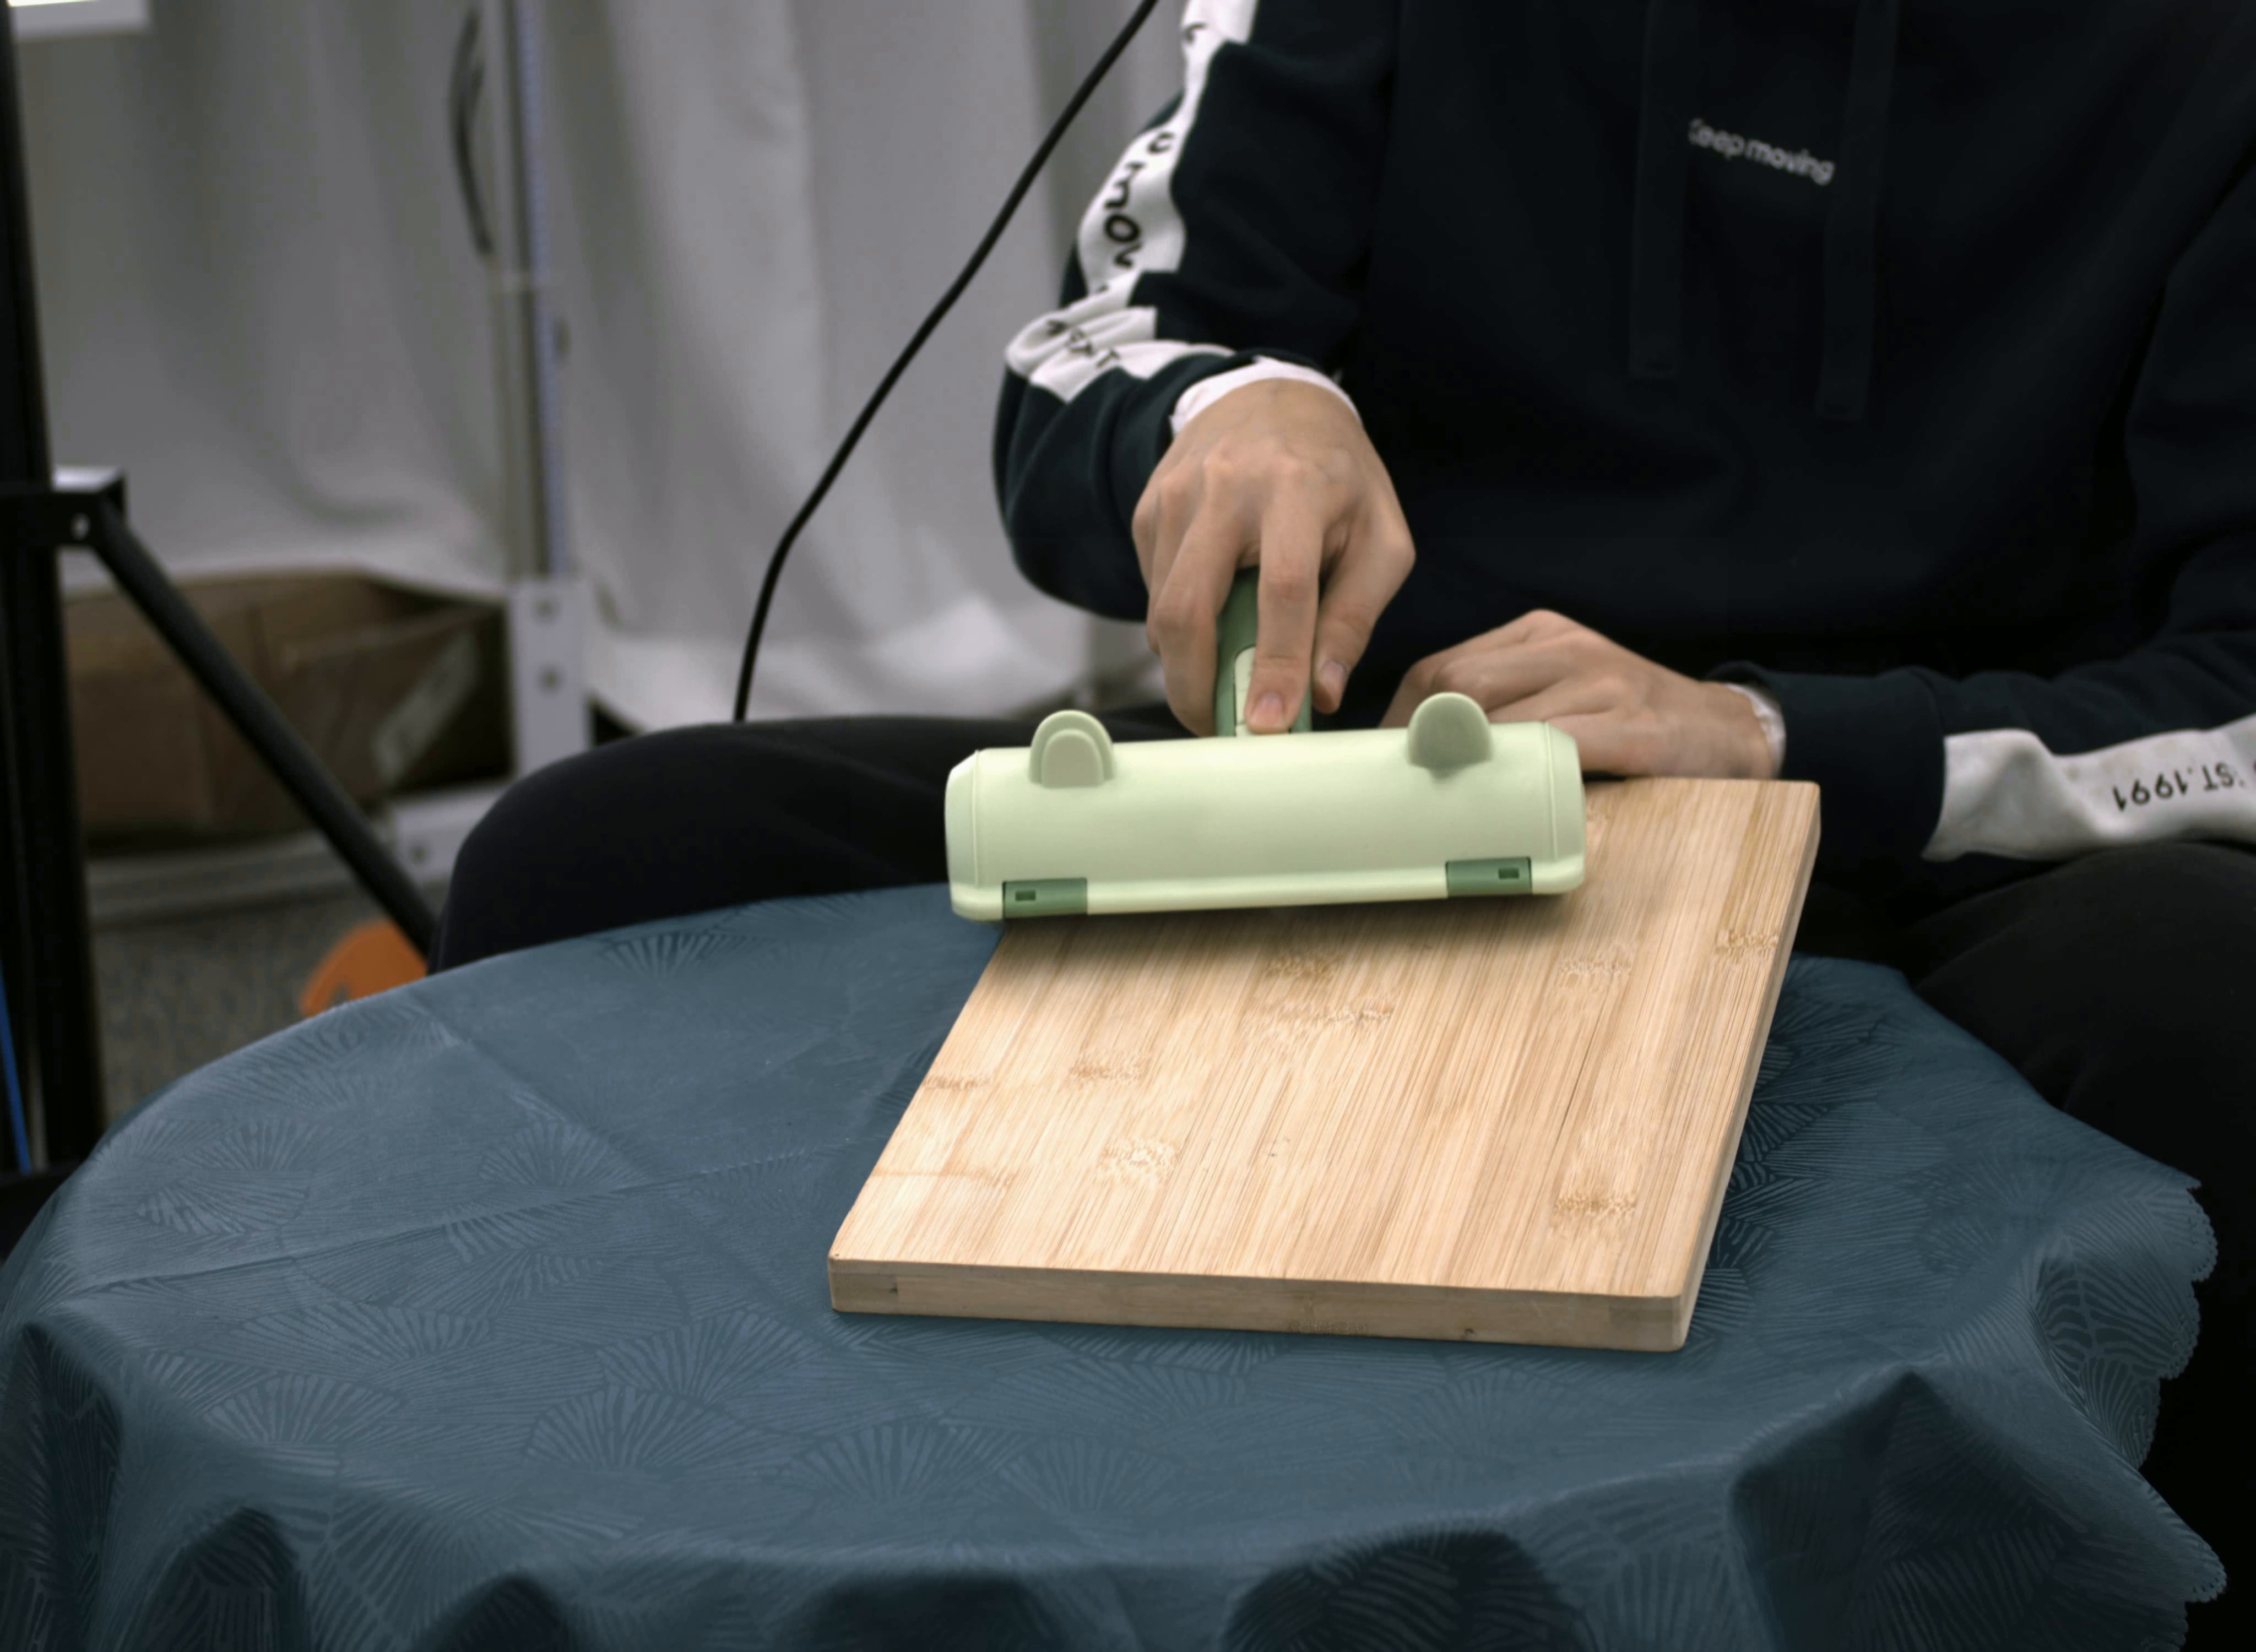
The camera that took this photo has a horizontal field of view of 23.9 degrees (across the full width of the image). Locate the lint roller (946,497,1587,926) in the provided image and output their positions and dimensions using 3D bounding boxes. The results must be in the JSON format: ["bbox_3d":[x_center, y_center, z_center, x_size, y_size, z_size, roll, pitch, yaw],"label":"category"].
[{"bbox_3d":[0.042,-0.049,1.672,0.198,0.081,0.185,-3,54,5],"label":"lint roller"}]

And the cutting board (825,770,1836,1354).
[{"bbox_3d":[0.072,0.060,1.594,0.252,0.023,0.347,1,25,14],"label":"cutting board"}]
